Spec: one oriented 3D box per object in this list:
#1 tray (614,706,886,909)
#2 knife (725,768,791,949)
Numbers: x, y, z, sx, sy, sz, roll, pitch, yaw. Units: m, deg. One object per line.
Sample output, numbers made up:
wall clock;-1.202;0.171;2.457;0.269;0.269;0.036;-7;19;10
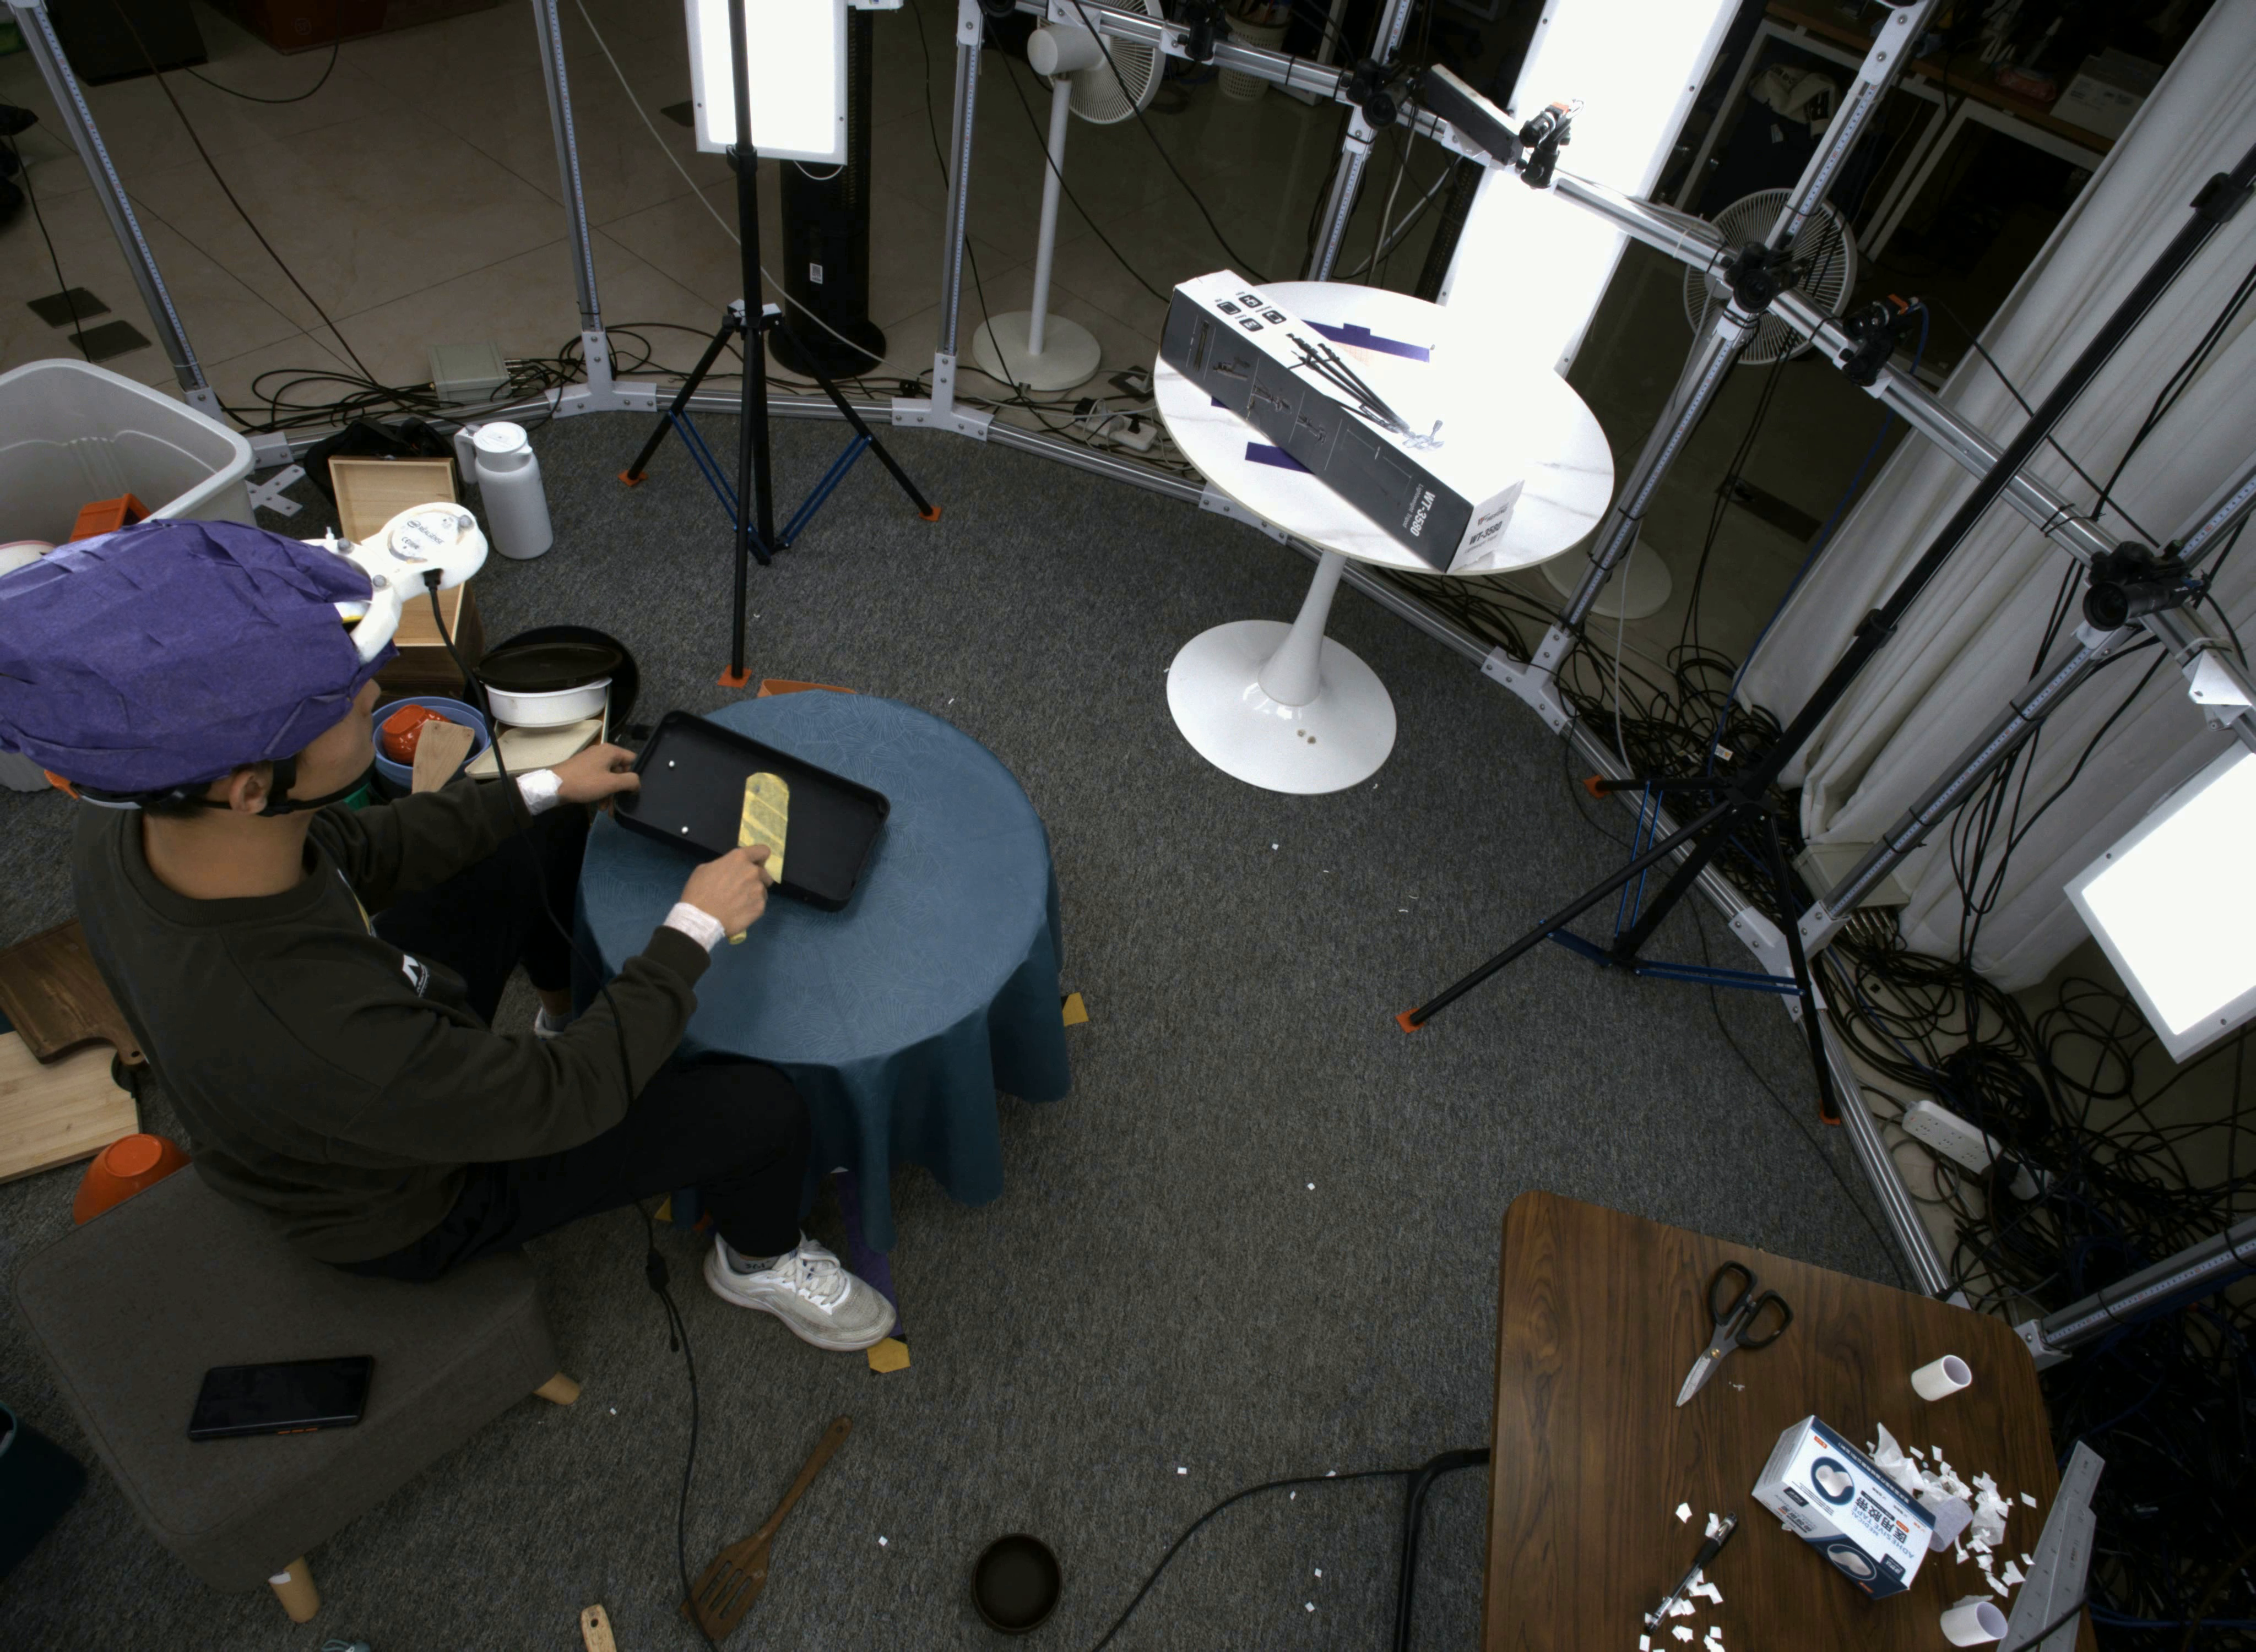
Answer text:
tray;-0.486;-0.025;1.671;0.321;0.037;0.182;23;53;-14
knife;-0.449;0.034;1.579;0.084;0.027;0.283;43;32;-39
